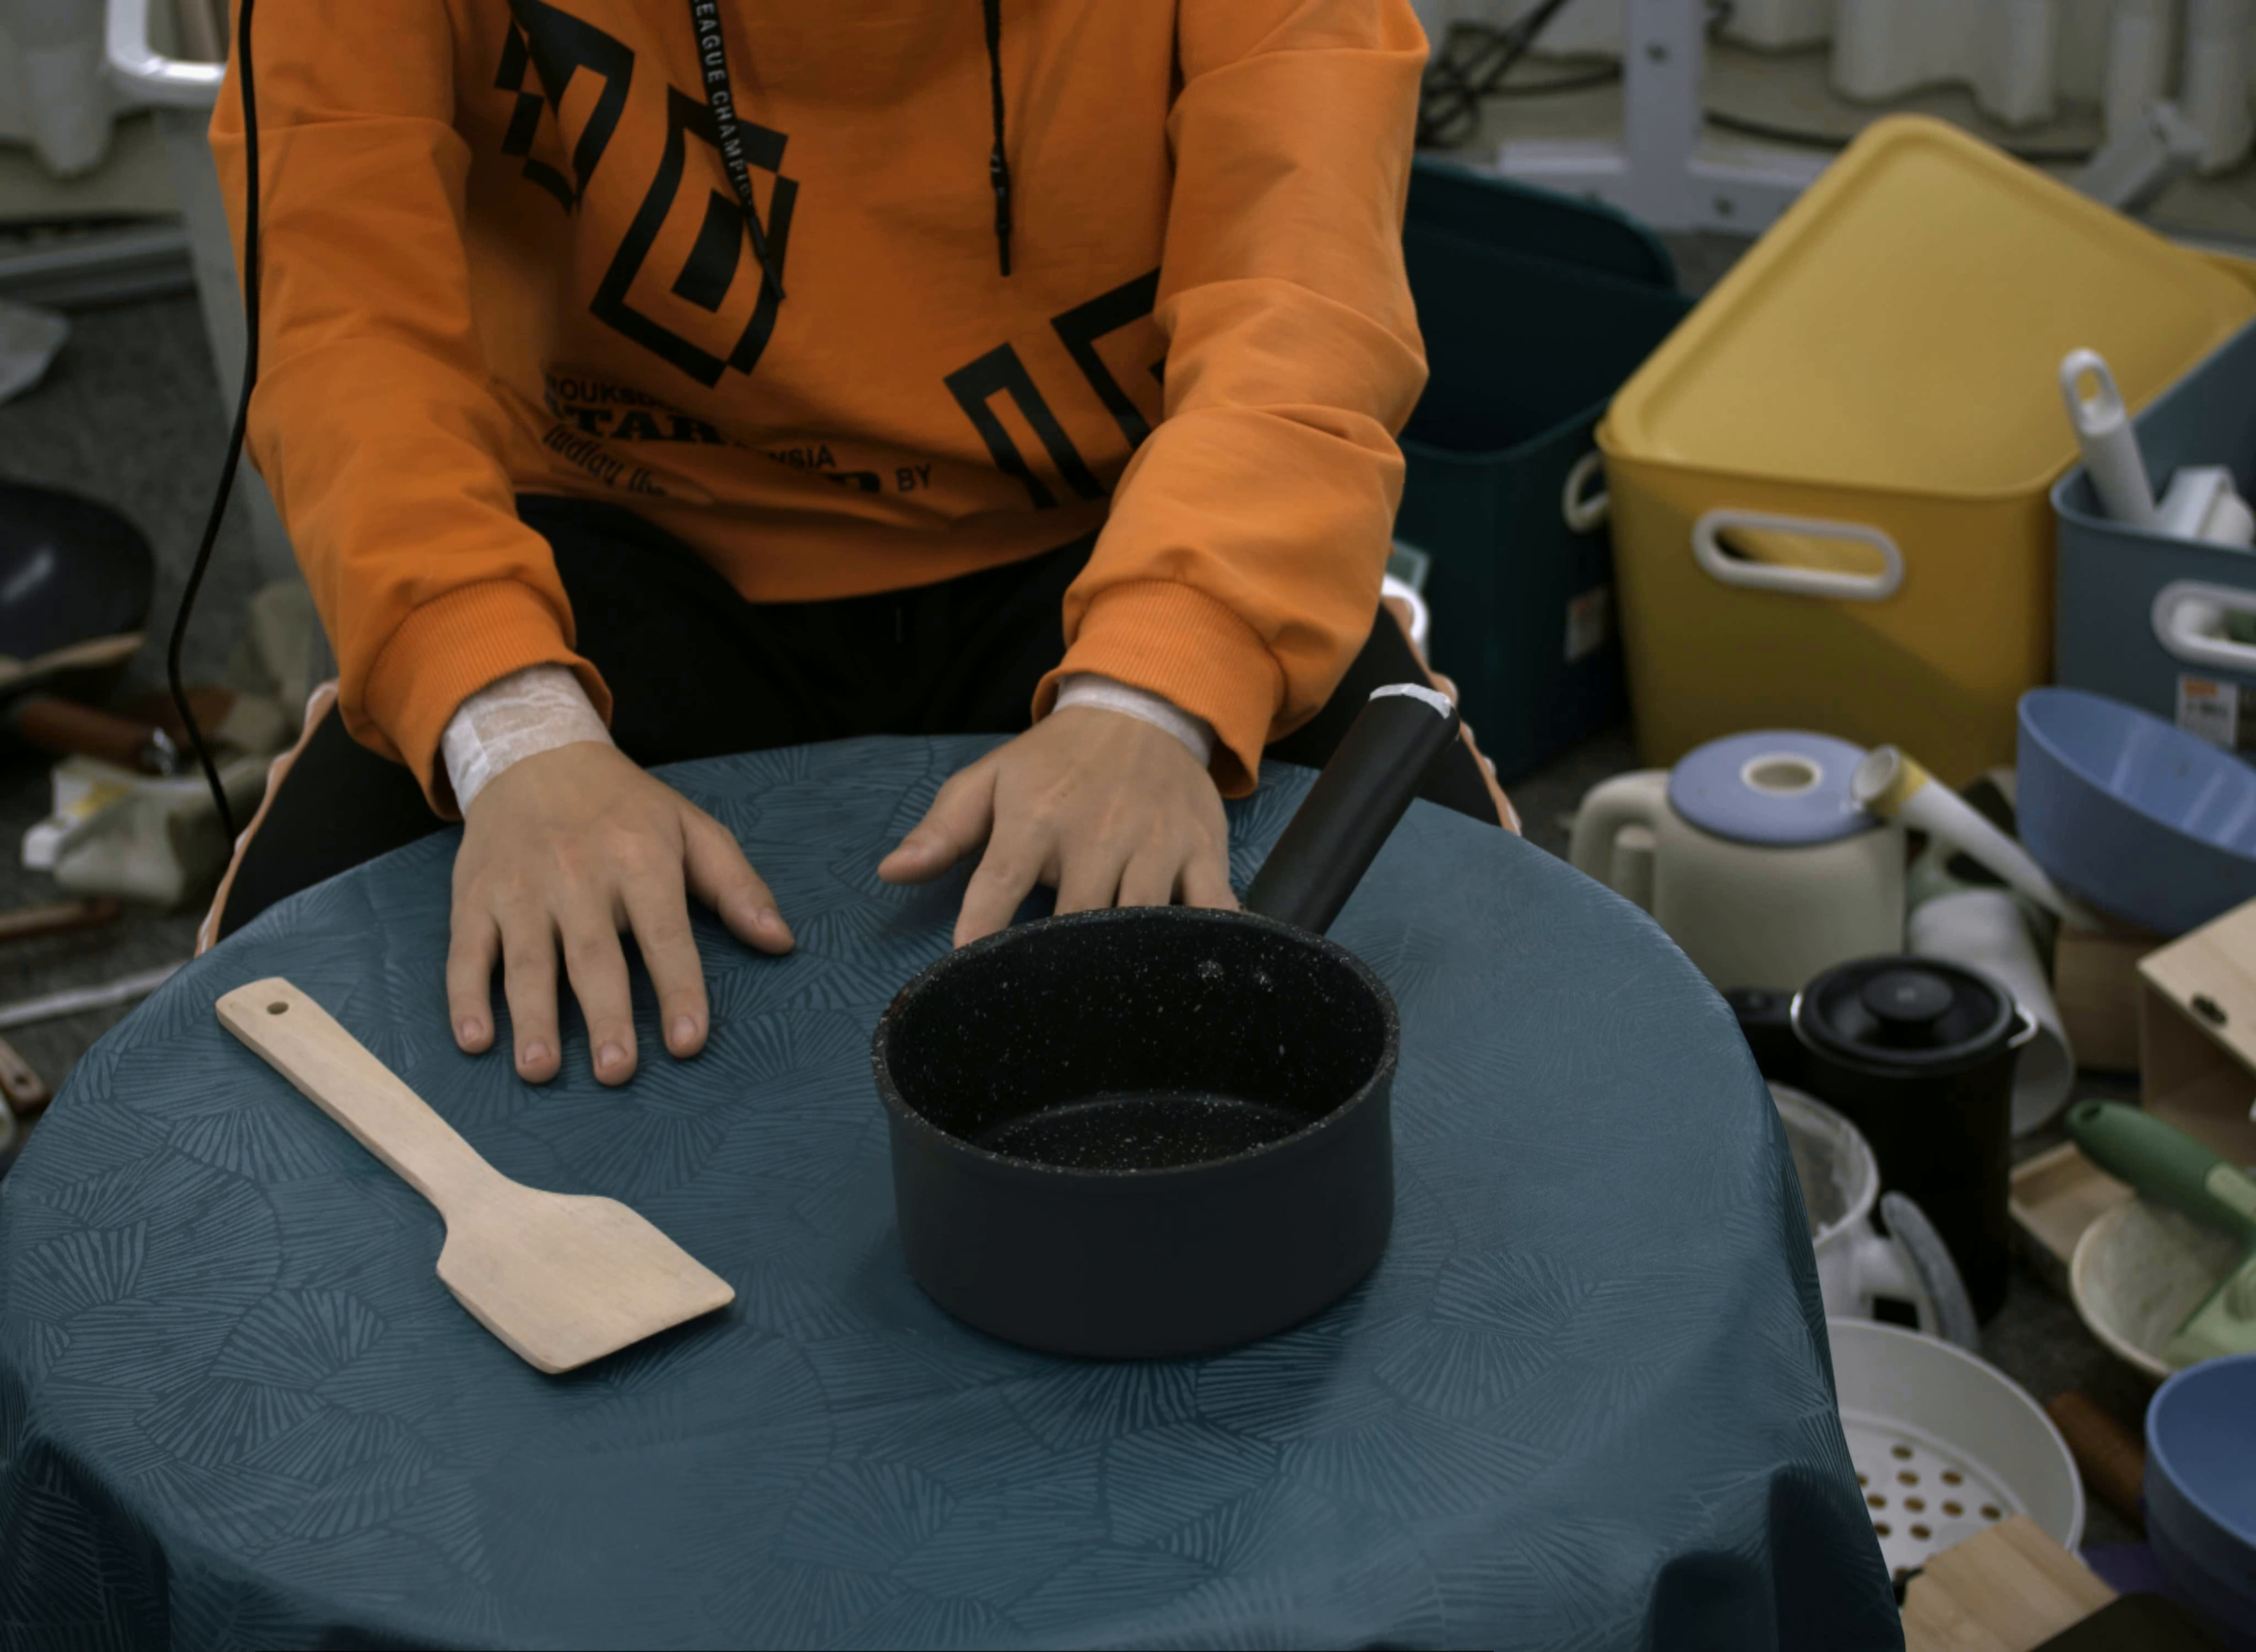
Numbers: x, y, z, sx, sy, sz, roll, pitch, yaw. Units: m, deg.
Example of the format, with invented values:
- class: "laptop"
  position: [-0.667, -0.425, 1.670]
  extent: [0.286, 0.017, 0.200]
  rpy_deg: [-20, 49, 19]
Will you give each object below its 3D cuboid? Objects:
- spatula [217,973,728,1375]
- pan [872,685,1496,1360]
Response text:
- class: "spatula"
  position: [-0.236, 0.112, 1.894]
  extent: [0.073, 0.010, 0.294]
  rpy_deg: [-22, 33, -27]
- class: "pan"
  position: [0.041, 0.061, 1.884]
  extent: [0.171, 0.085, 0.334]
  rpy_deg: [12, 32, 25]
